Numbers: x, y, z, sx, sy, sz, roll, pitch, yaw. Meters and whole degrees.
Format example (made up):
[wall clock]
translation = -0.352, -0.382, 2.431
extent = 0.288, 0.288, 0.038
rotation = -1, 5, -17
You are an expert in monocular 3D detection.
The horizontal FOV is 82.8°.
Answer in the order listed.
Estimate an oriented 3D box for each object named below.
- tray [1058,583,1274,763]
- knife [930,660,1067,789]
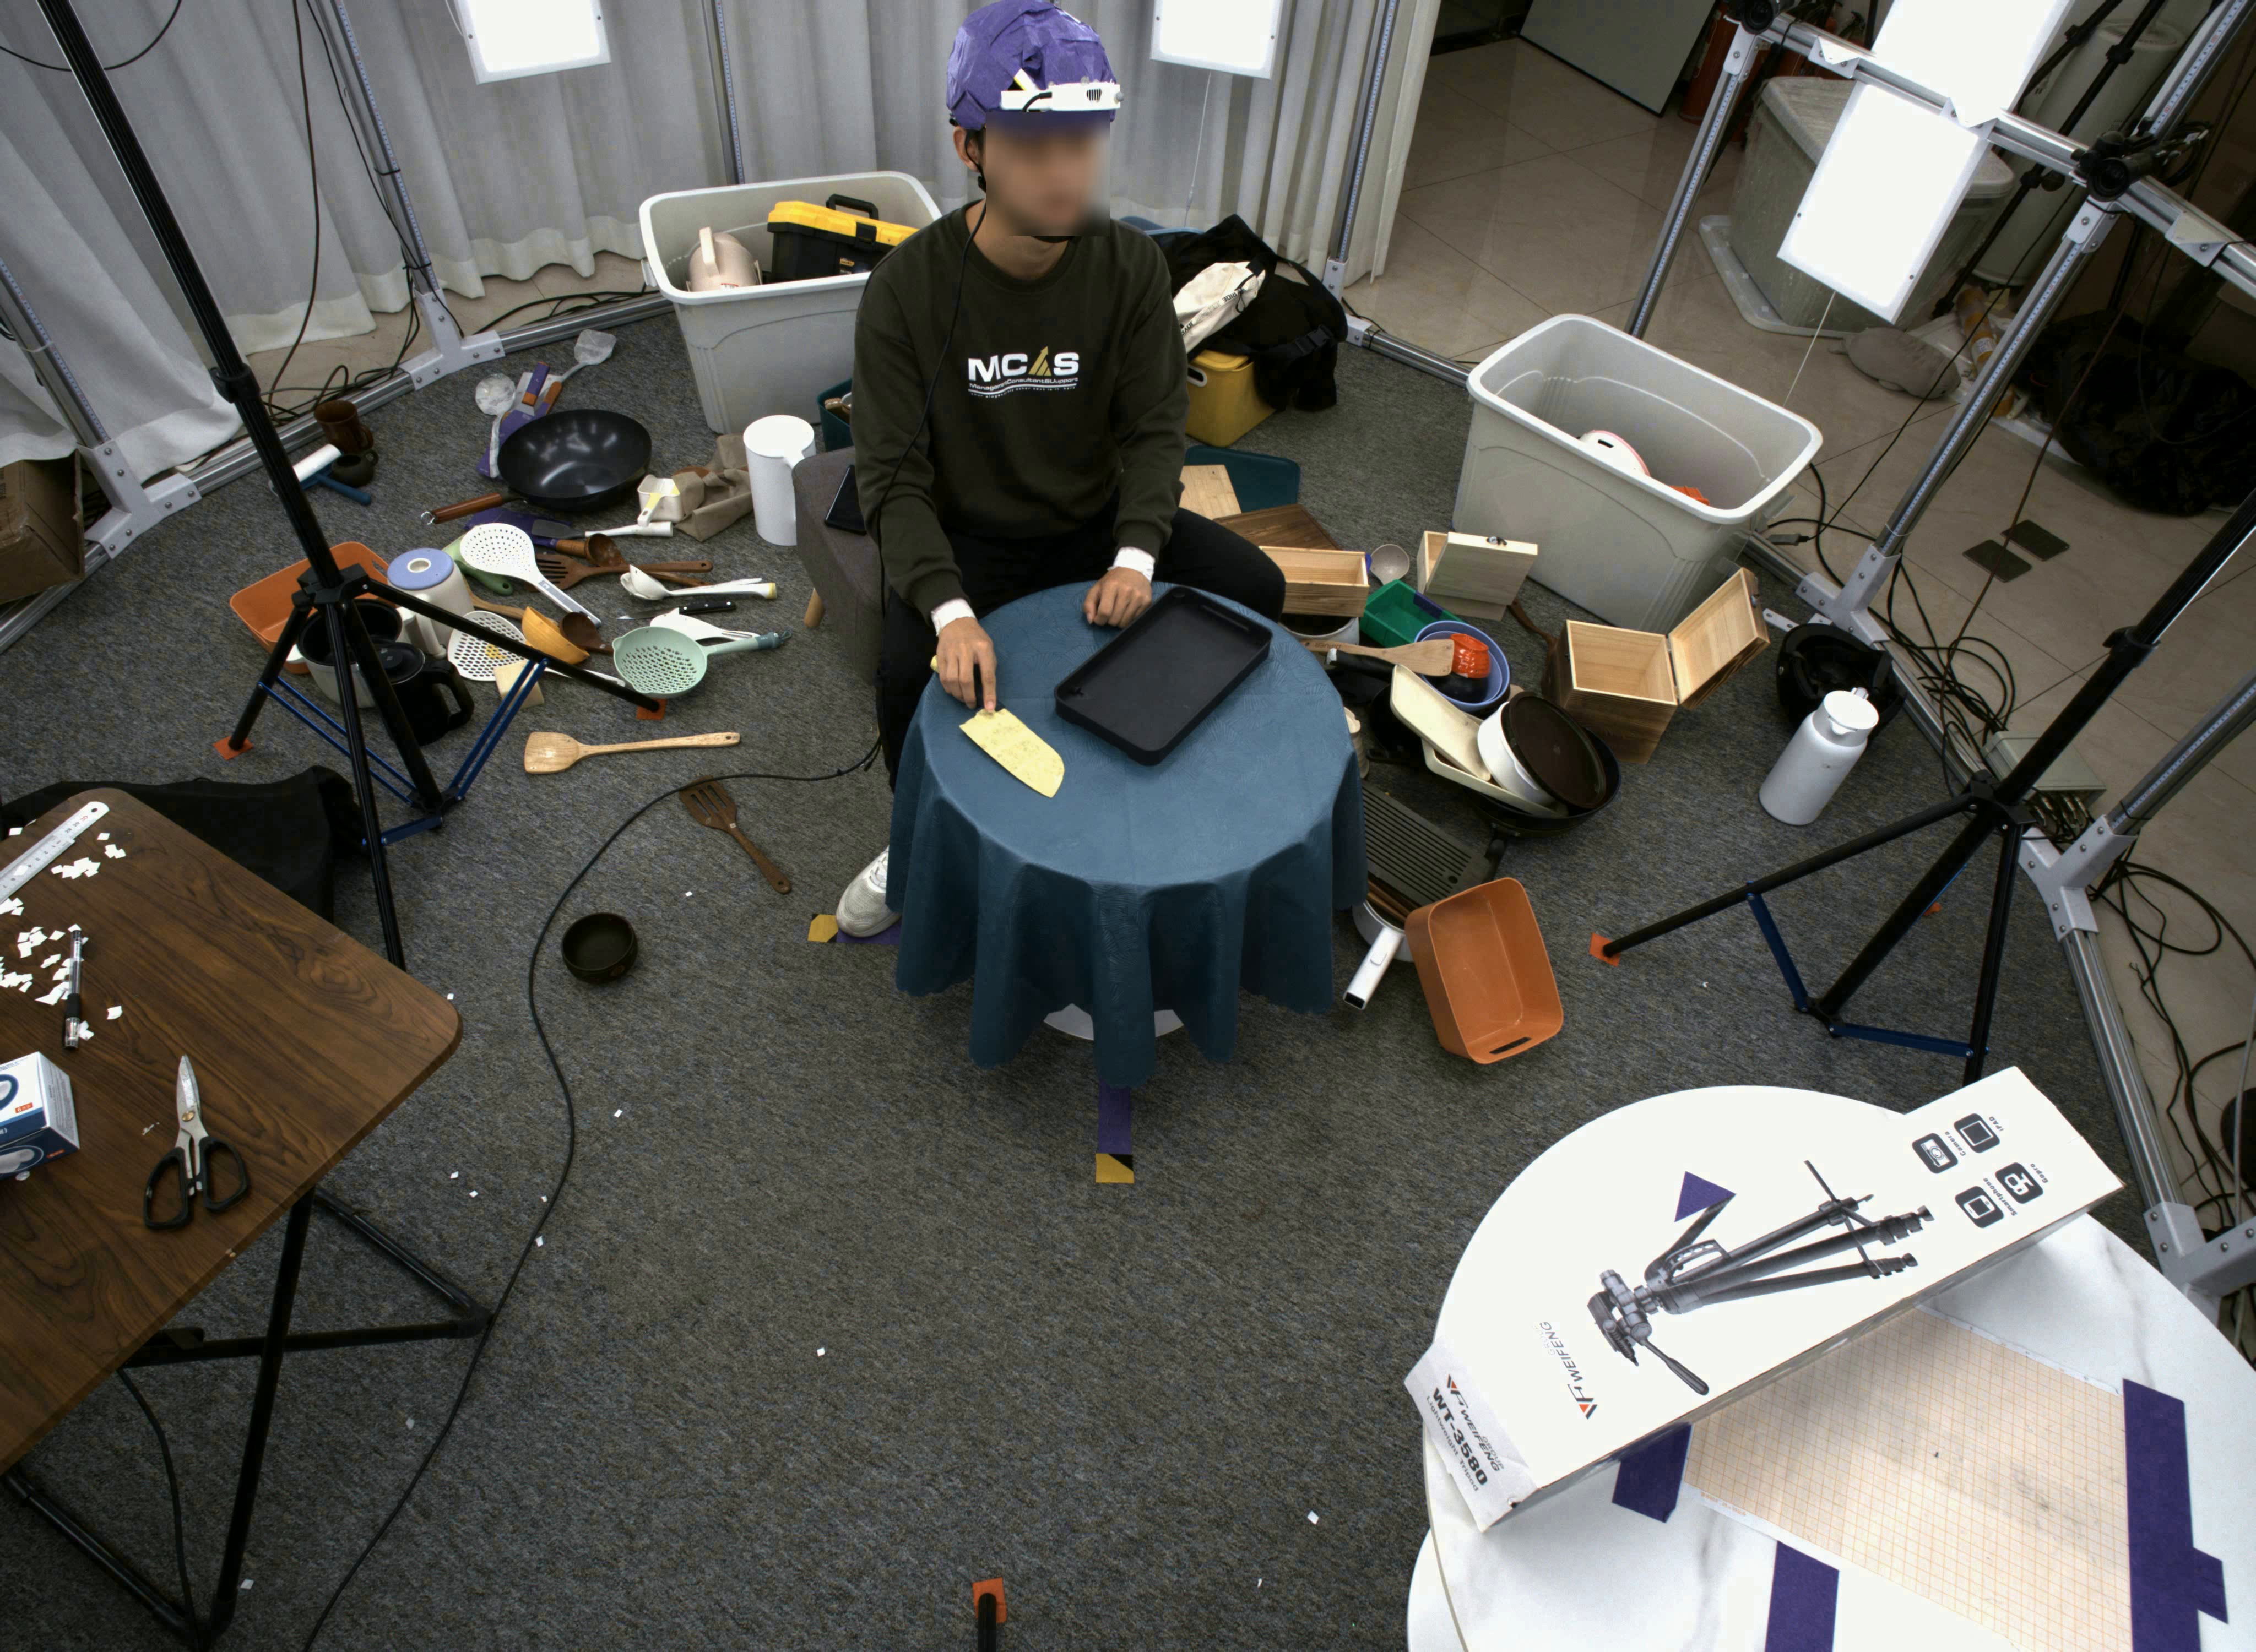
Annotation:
[tray]
translation = 0.058, -0.226, 1.844
extent = 0.186, 0.036, 0.322
rotation = 29, 53, 20
[knife]
translation = -0.187, -0.139, 1.765
extent = 0.081, 0.026, 0.294
rotation = -30, 58, -31
